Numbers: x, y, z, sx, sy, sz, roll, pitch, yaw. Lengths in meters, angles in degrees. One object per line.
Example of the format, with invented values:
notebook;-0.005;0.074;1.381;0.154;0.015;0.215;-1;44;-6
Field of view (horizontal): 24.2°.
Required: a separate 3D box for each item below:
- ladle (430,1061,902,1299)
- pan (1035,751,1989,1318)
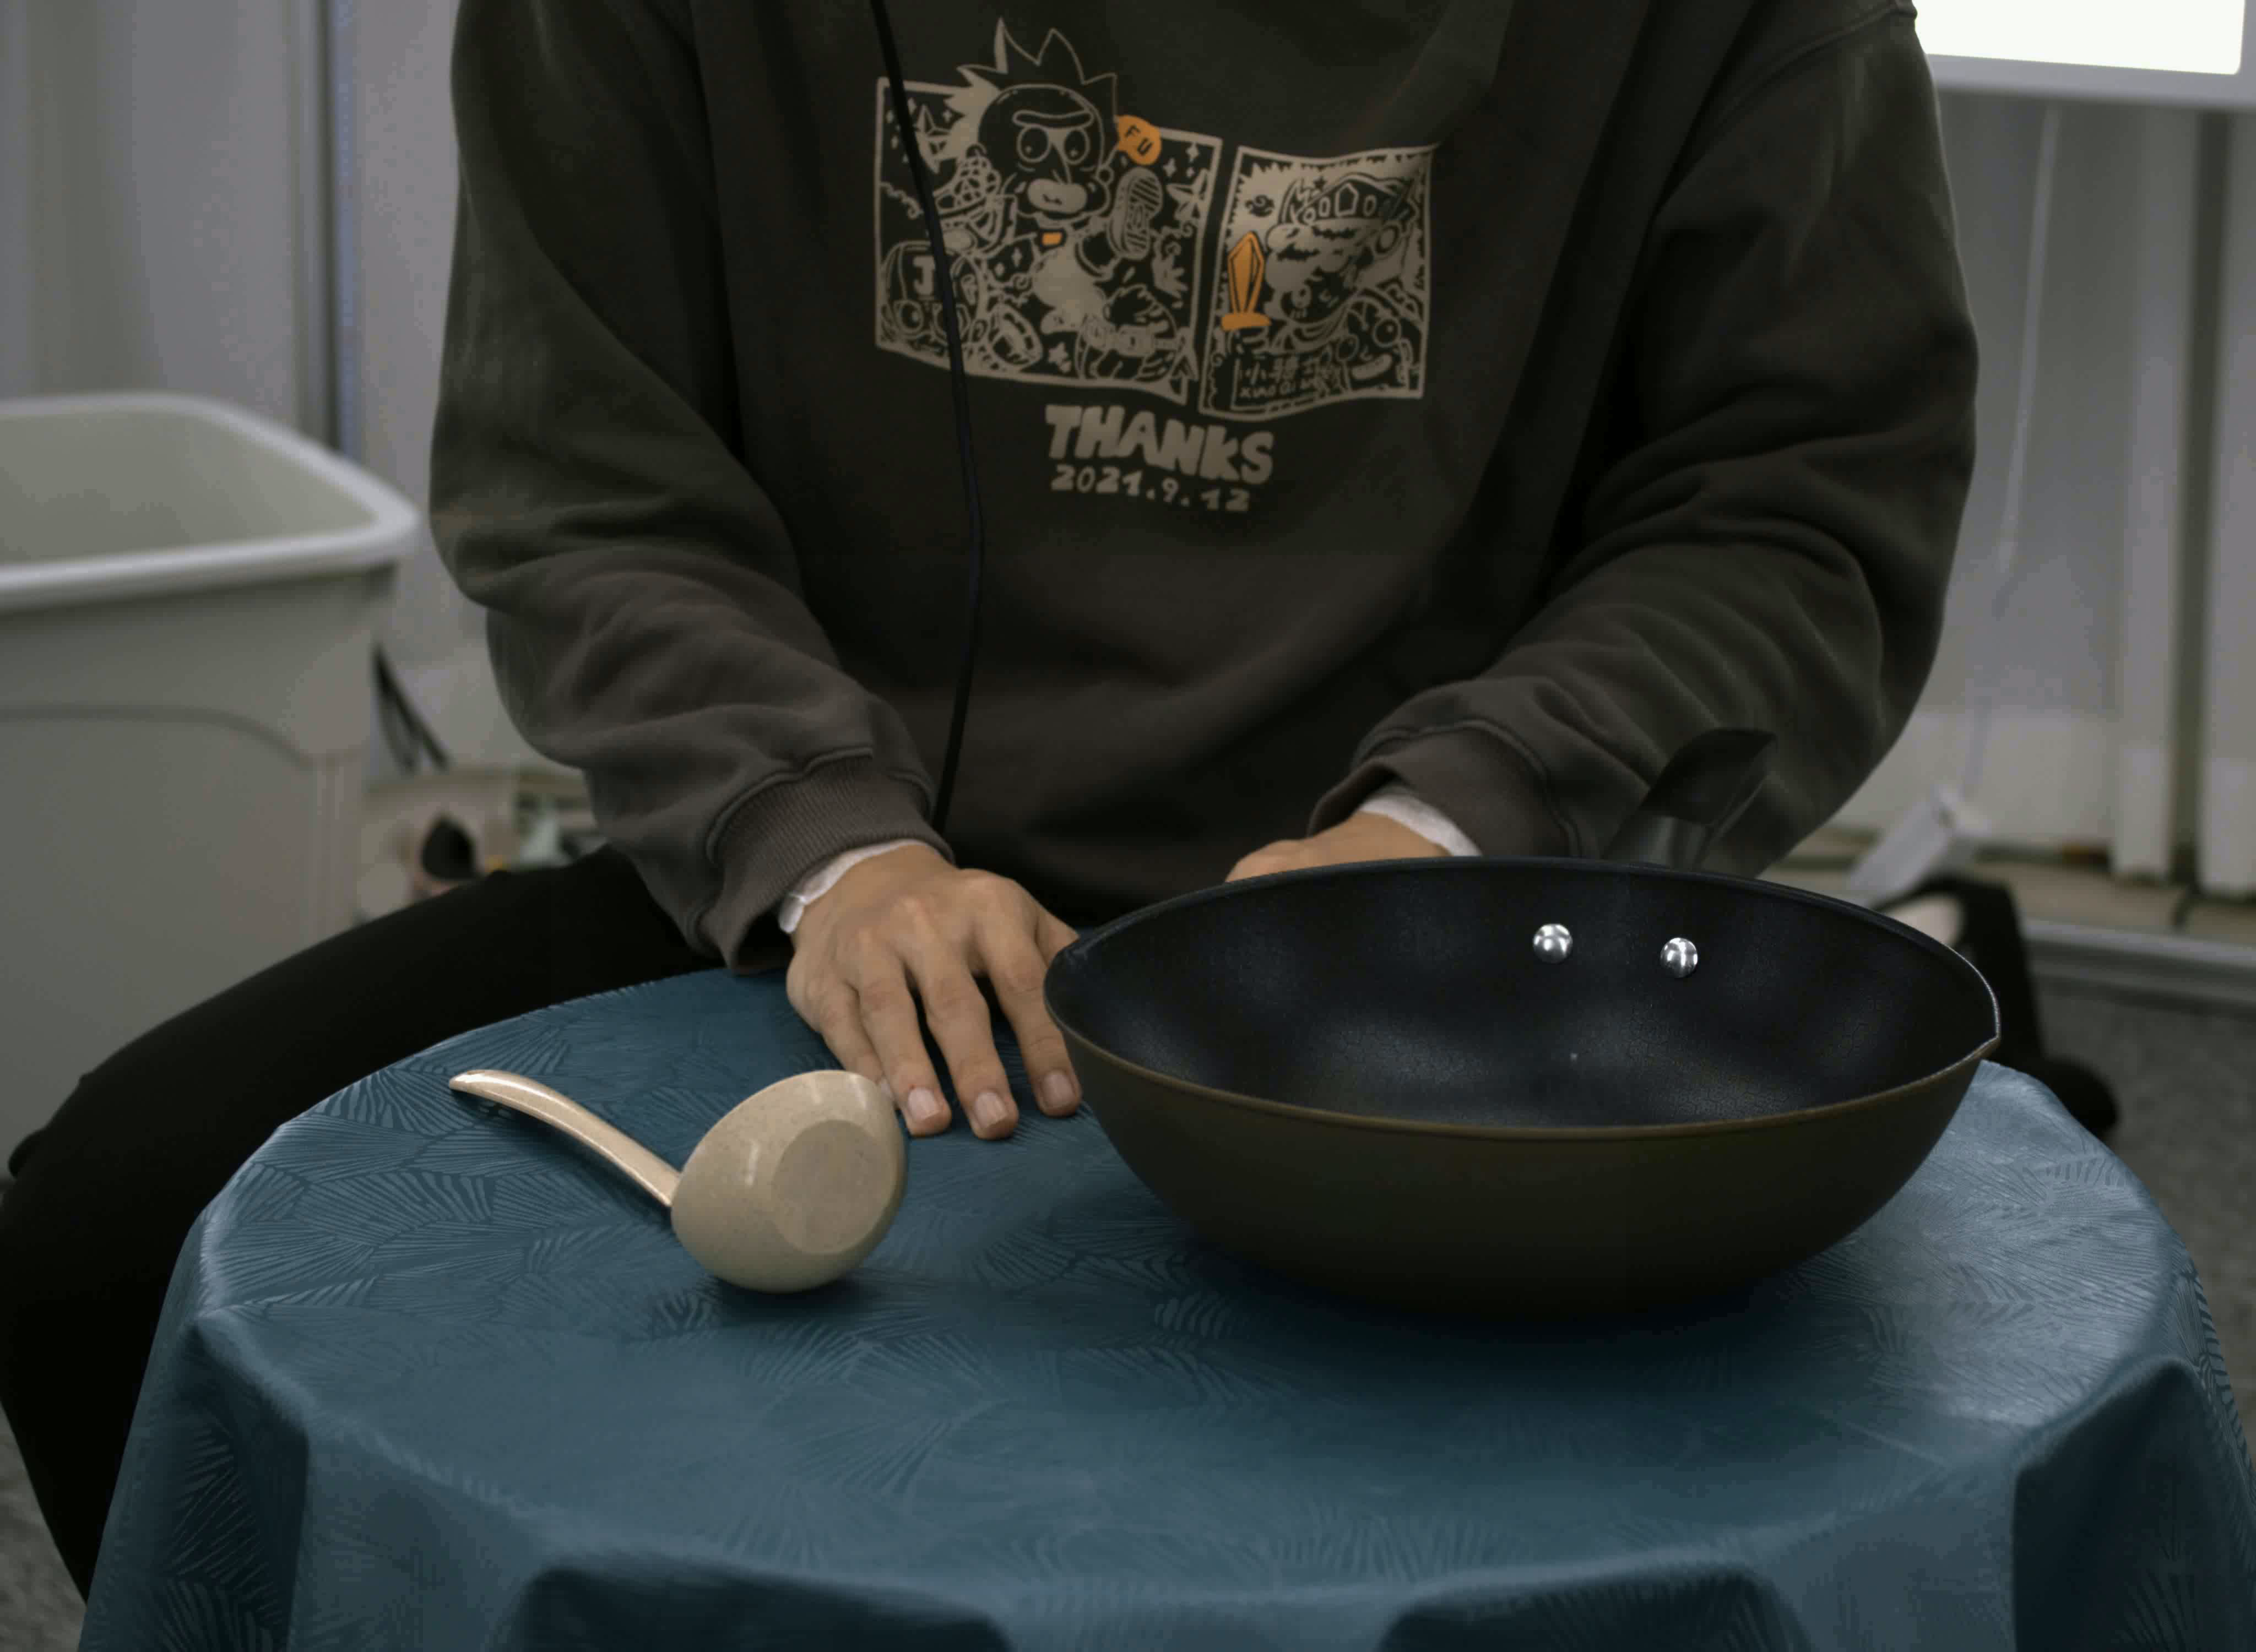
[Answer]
ladle;-0.154;0.078;1.610;0.072;0.073;0.251;-13;22;-32
pan;0.142;0.062;1.662;0.285;0.087;0.463;5;15;17
